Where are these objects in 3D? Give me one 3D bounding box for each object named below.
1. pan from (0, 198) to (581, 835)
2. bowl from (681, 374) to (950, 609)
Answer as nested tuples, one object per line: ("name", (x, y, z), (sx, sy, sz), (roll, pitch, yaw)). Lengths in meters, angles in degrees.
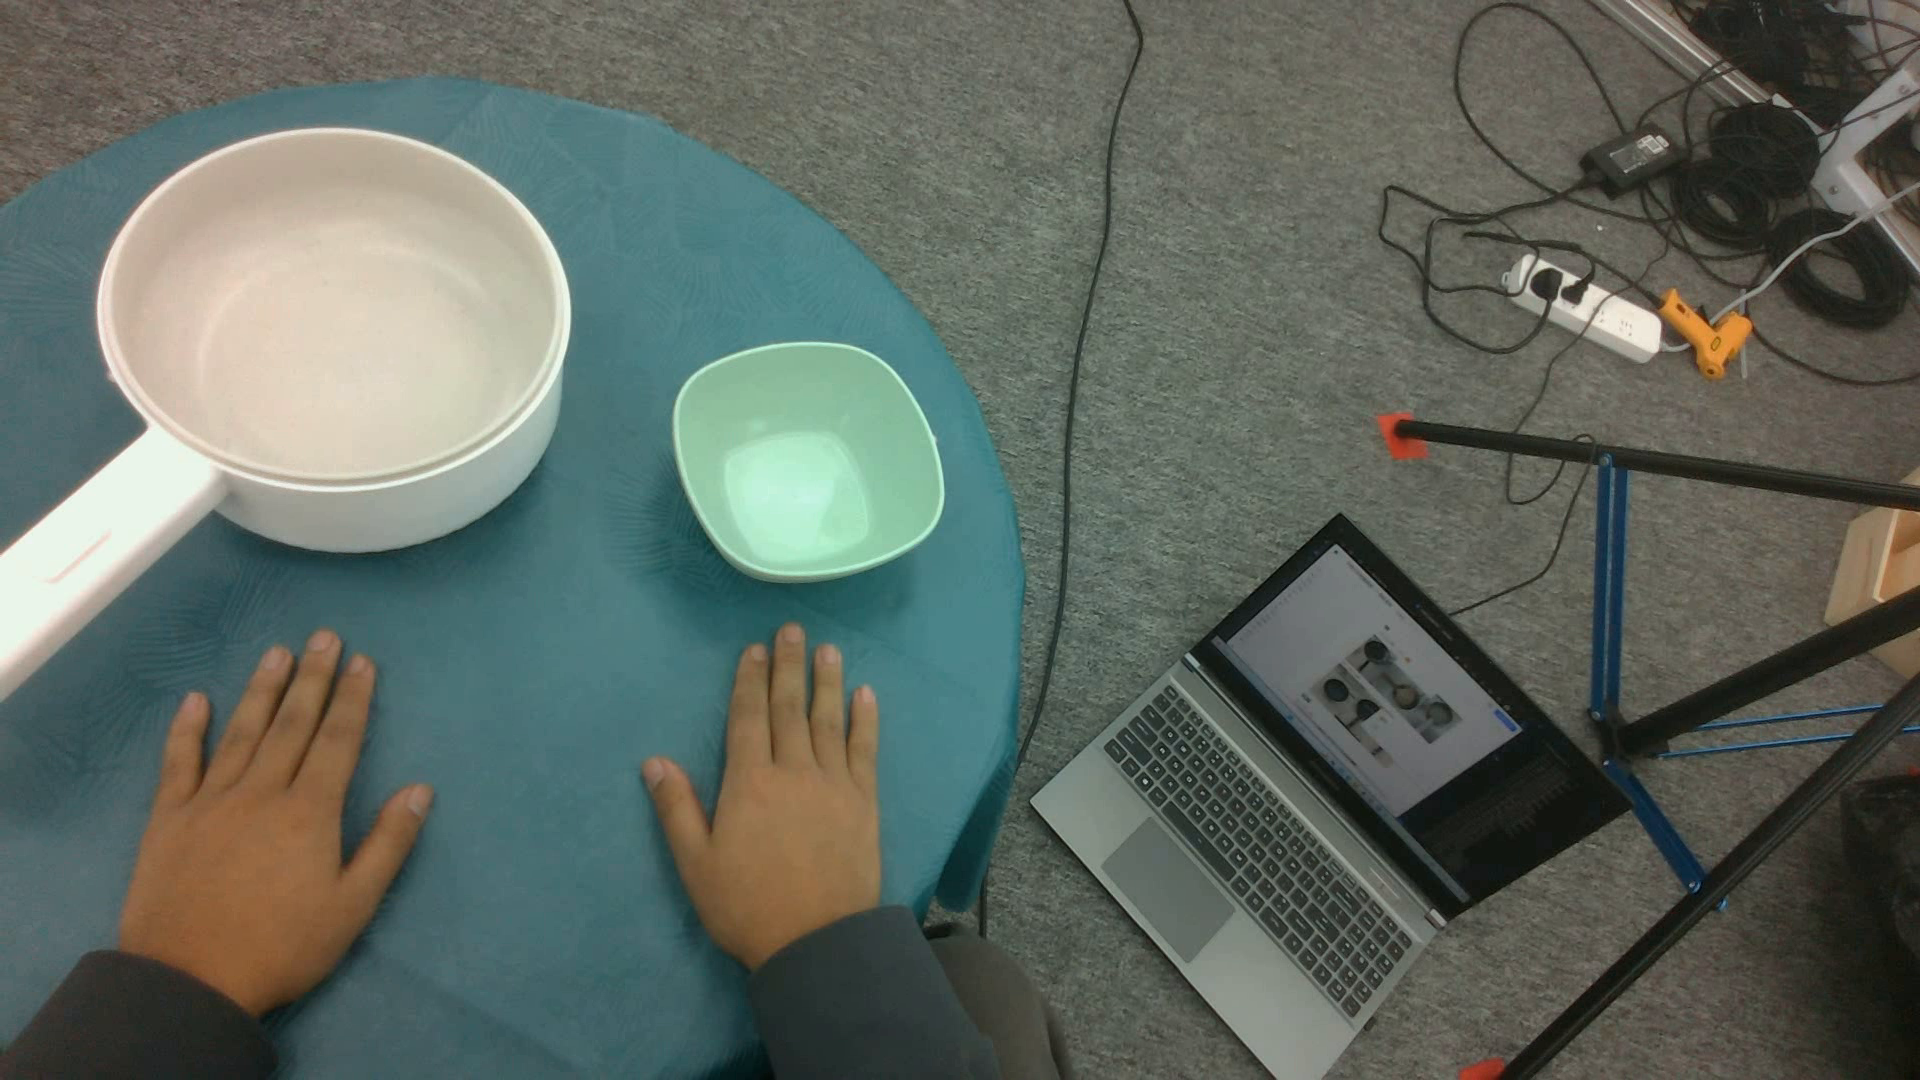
("pan", (-0.333, -0.008, 0.667), (0.201, 0.101, 0.356), (31, 60, 0))
("bowl", (-0.082, -0.018, 0.761), (0.151, 0.058, 0.152), (7, 60, -11))
